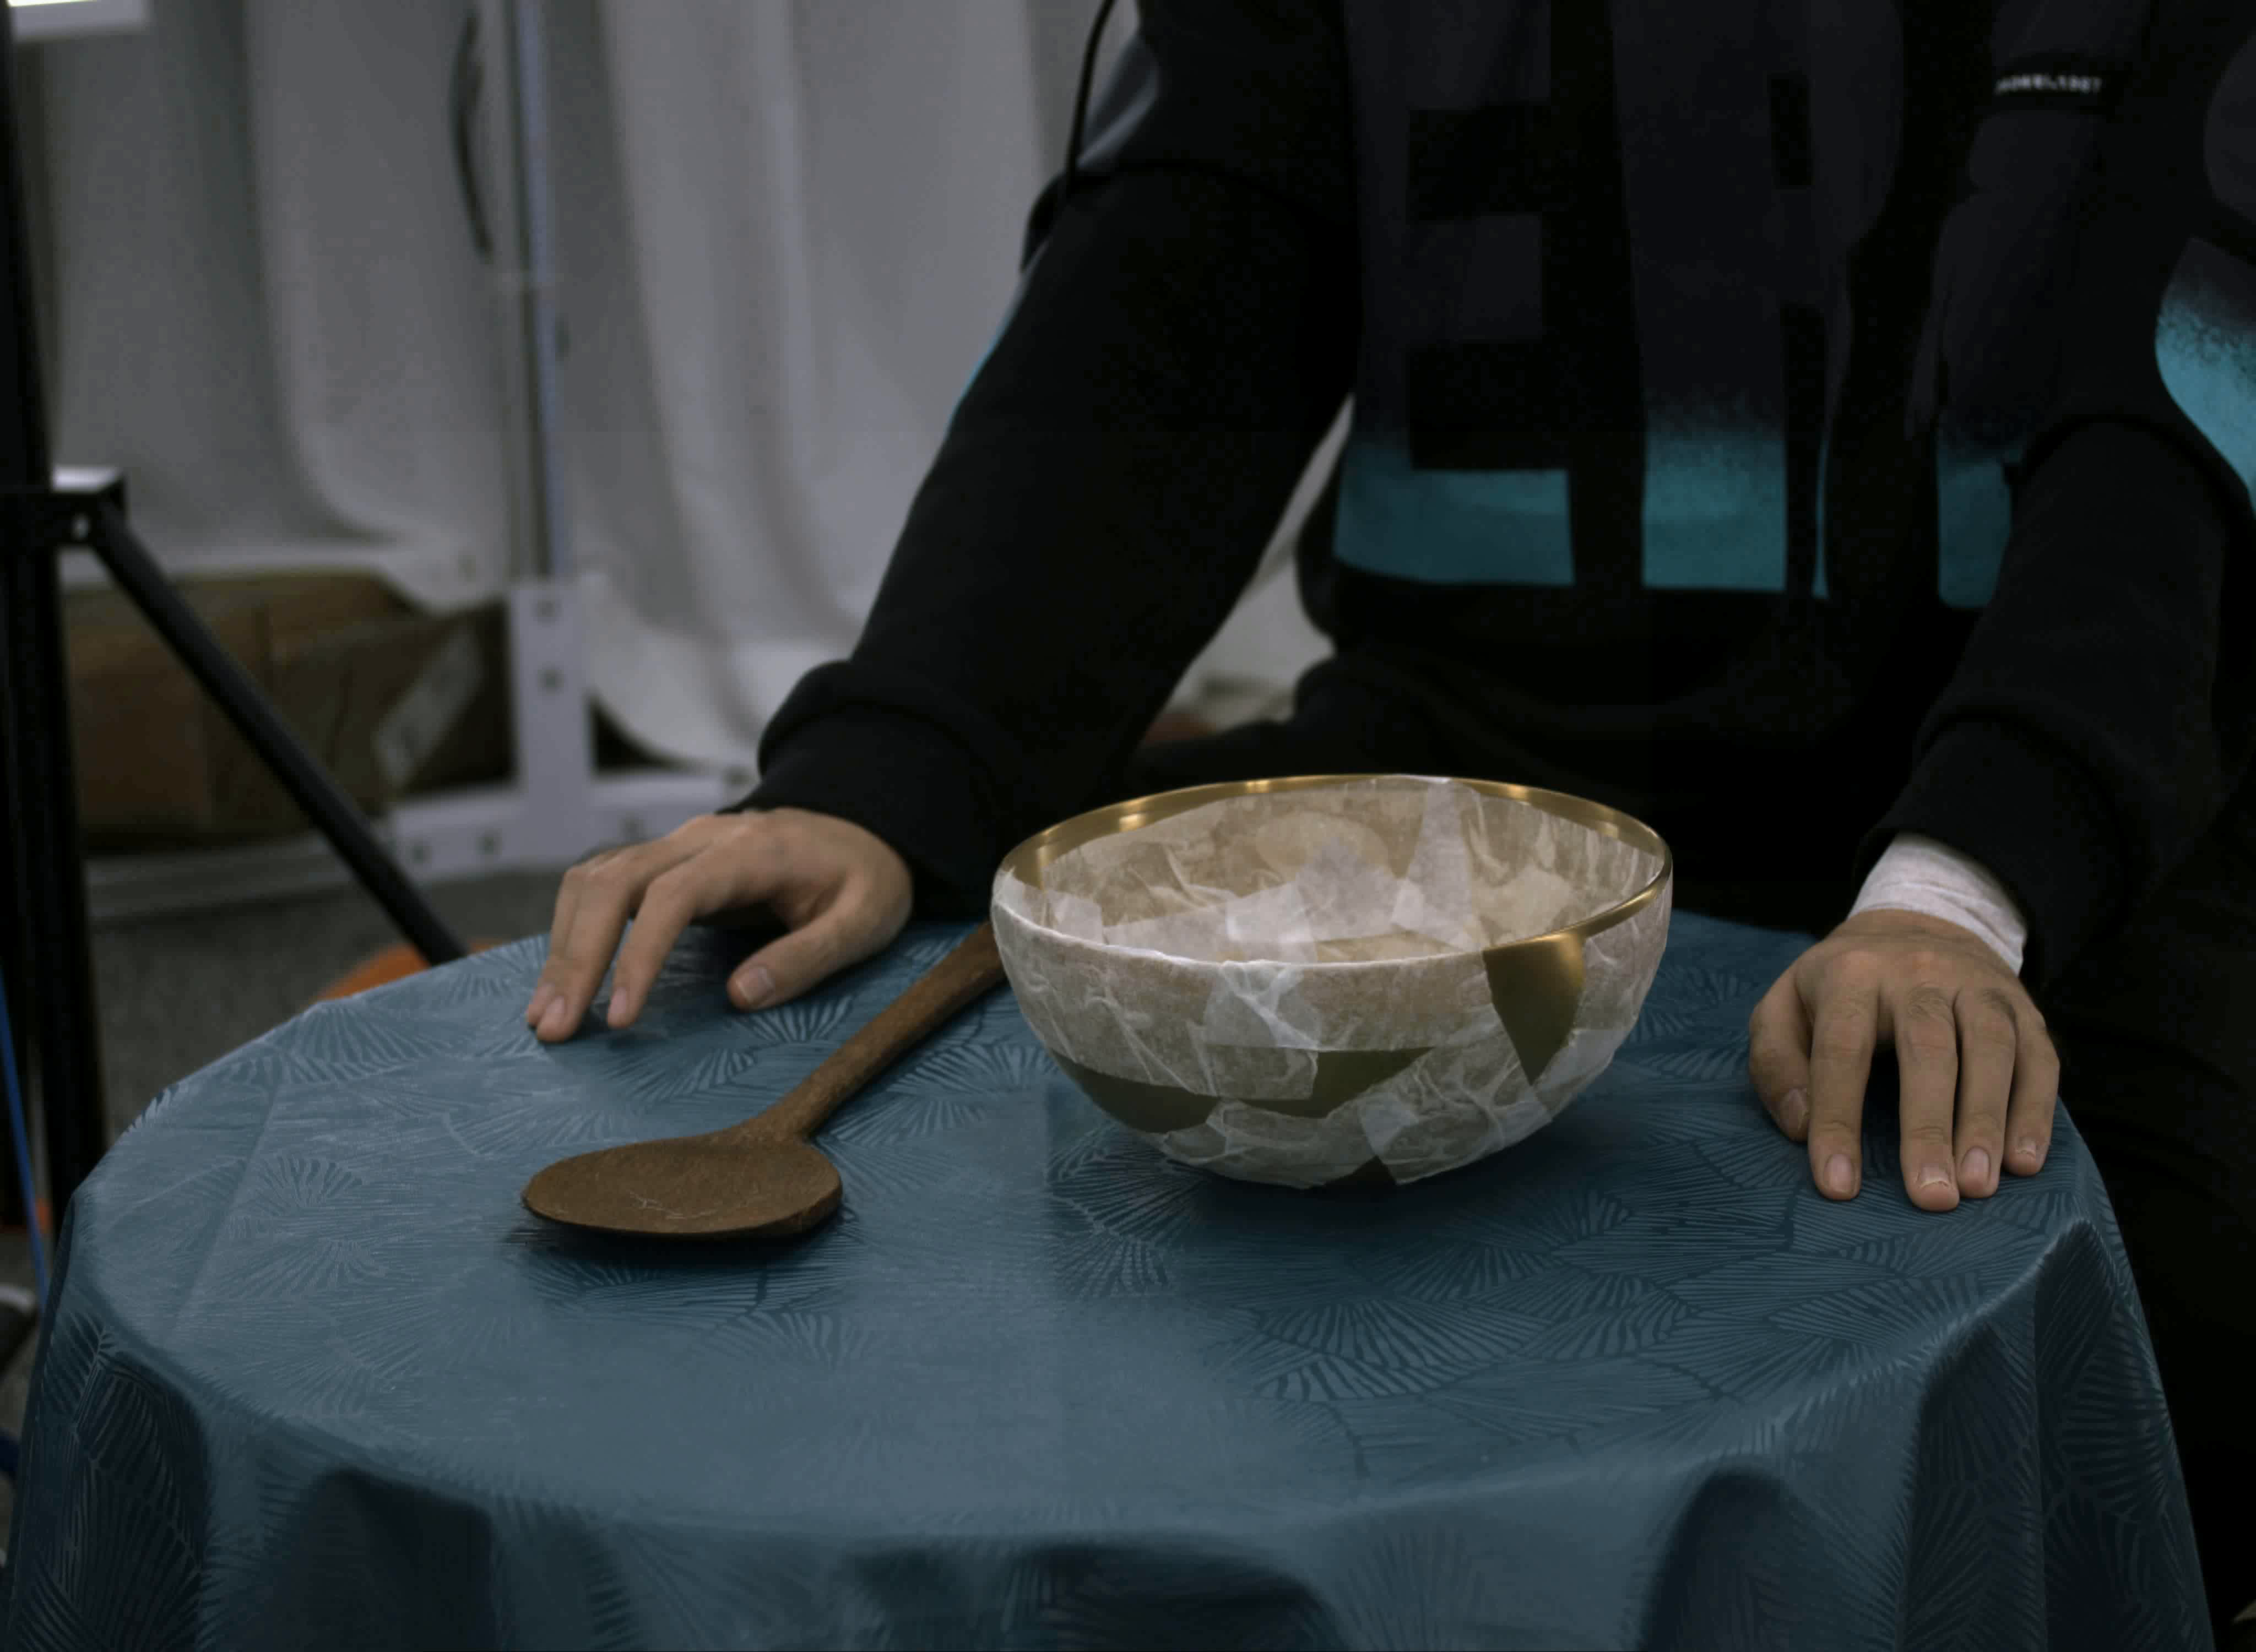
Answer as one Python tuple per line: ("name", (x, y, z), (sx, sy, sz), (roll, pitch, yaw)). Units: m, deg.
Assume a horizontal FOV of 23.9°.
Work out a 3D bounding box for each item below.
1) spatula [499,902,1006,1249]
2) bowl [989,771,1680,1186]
("spatula", (-0.079, 0.069, 1.685), (0.097, 0.016, 0.381), (4, 17, 20))
("bowl", (0.064, 0.052, 1.571), (0.213, 0.094, 0.216), (-4, 14, 0))
